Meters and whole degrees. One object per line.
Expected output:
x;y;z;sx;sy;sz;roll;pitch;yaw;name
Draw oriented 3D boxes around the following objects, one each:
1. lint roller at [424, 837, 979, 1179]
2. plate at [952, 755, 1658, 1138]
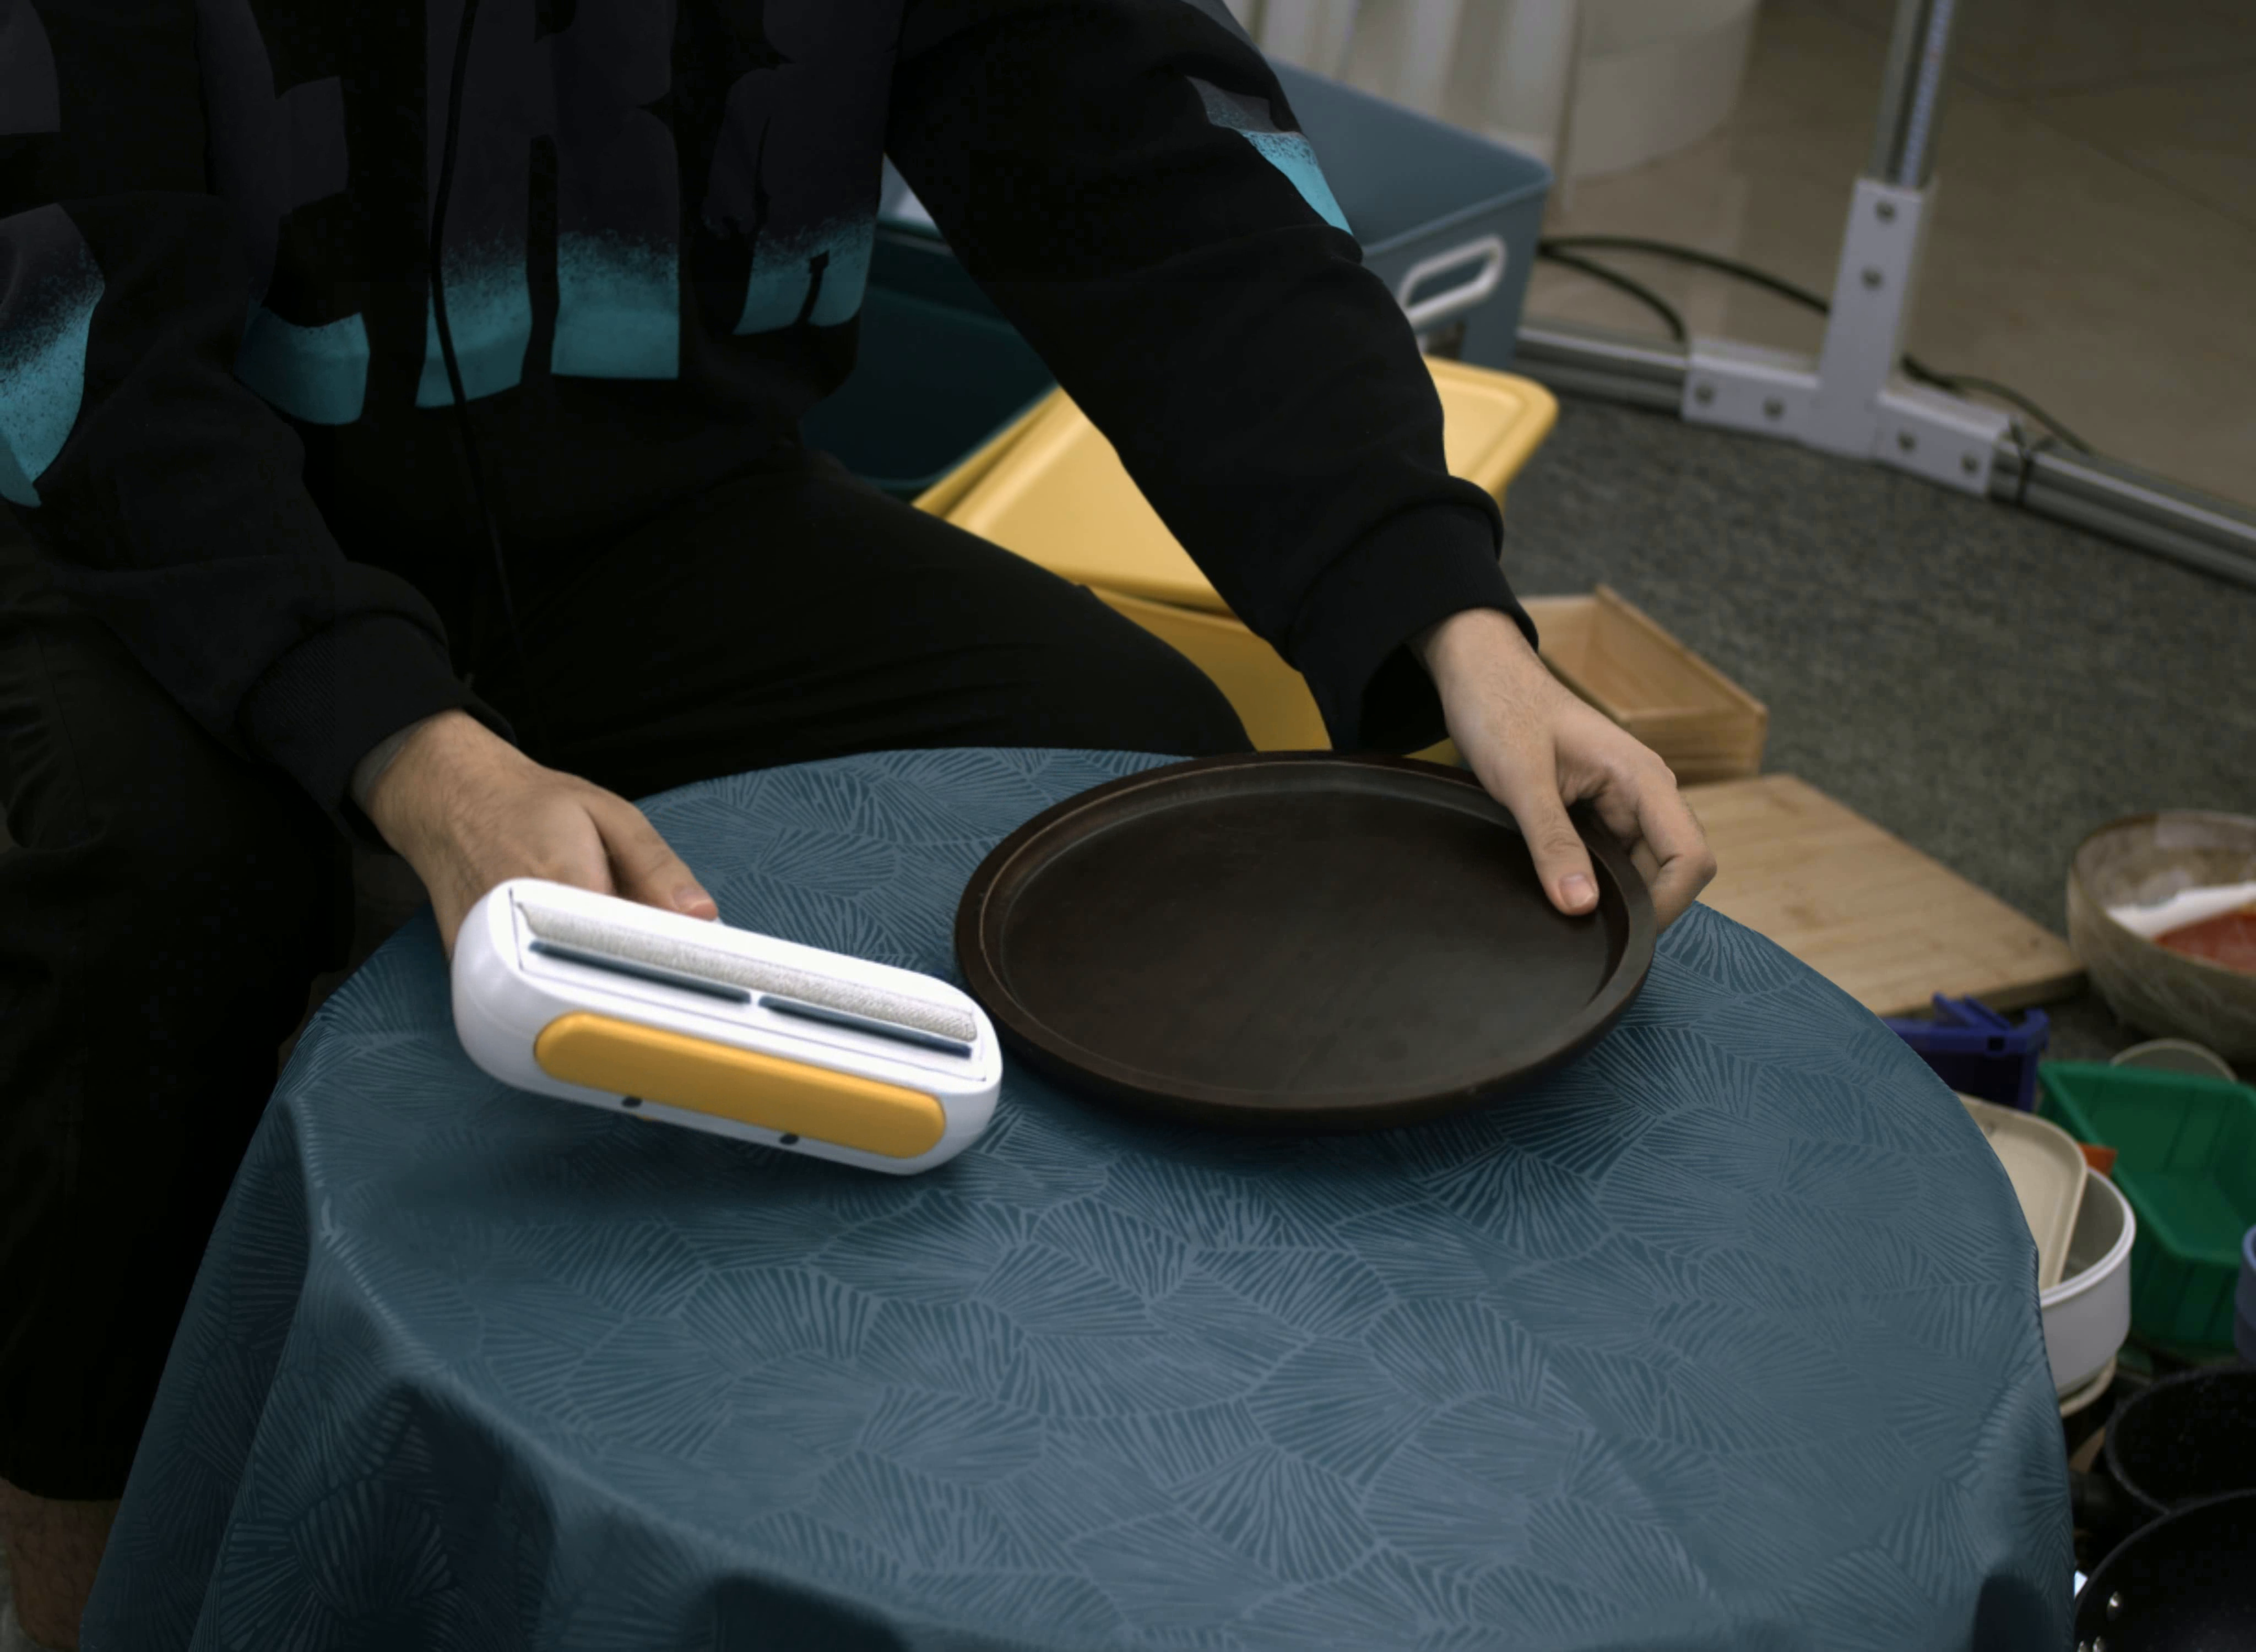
-0.153;0.043;1.821;0.191;0.074;0.194;13;26;-18;lint roller
0.064;0.042;1.916;0.254;0.029;0.256;-3;27;1;plate
